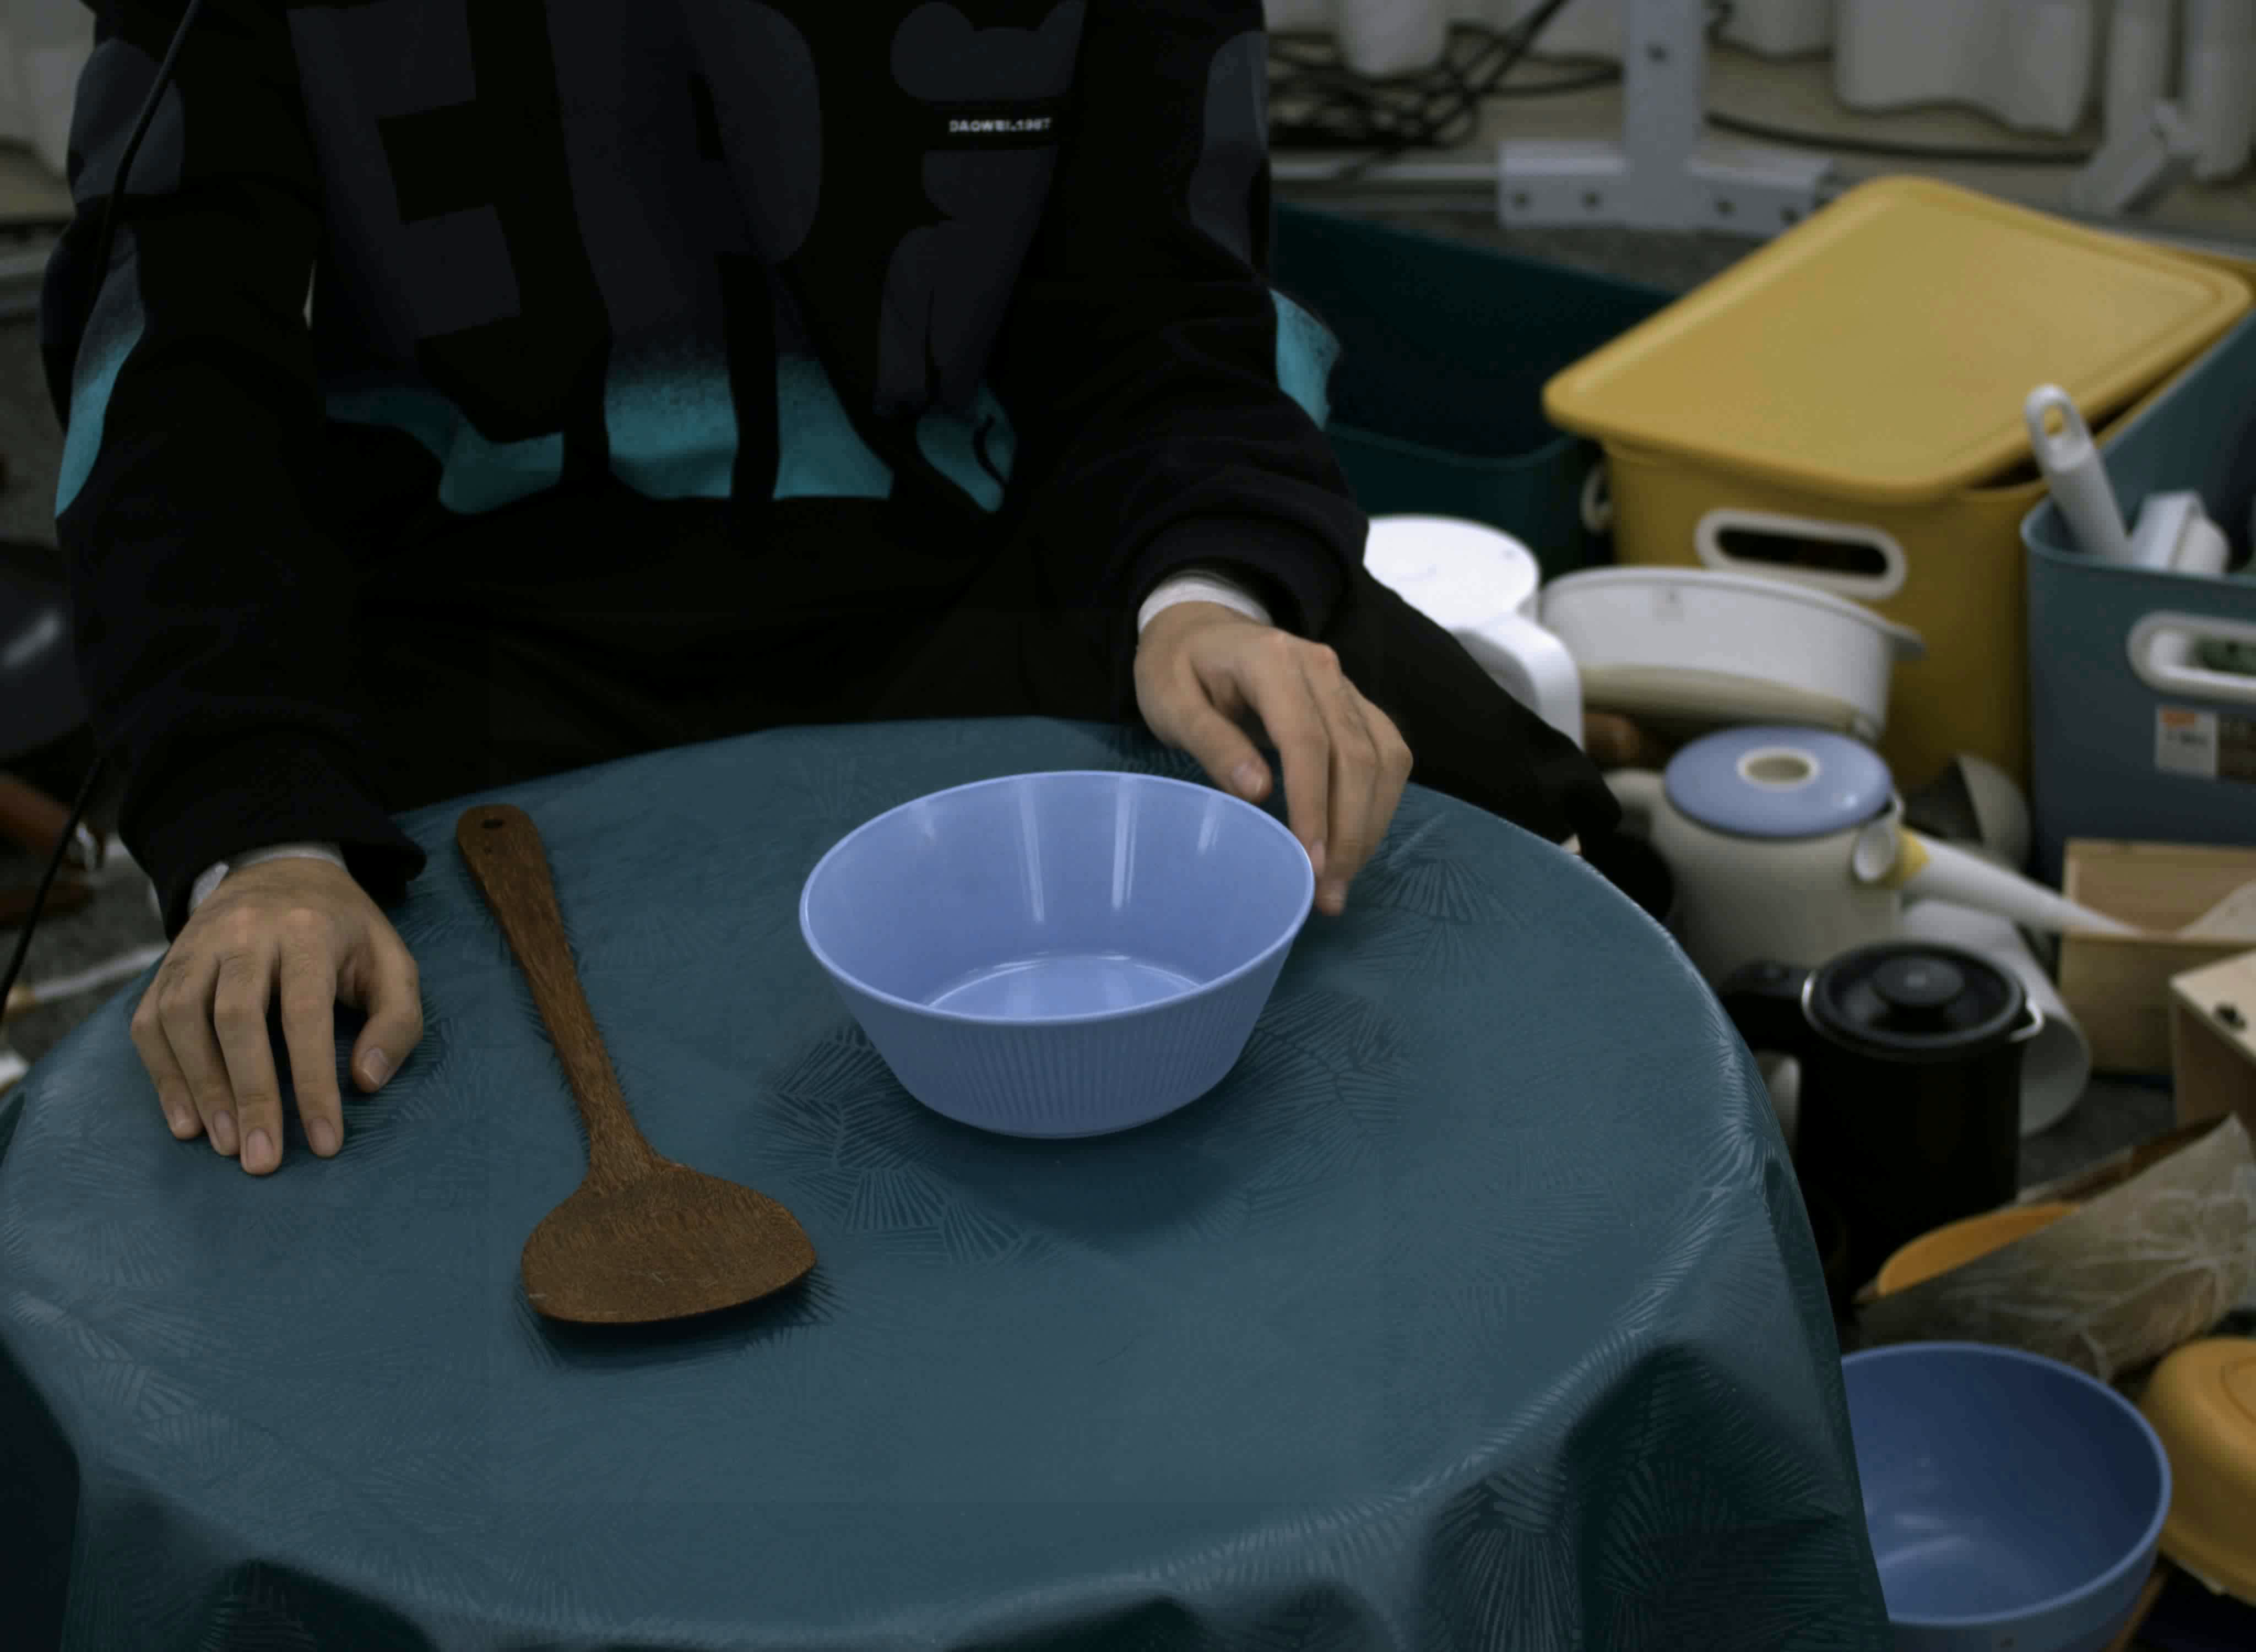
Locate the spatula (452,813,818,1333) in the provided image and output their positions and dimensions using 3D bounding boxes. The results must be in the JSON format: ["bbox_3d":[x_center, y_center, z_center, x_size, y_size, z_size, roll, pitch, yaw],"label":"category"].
[{"bbox_3d":[-0.191,0.077,1.952,0.096,0.015,0.390,-9,28,-13],"label":"spatula"}]

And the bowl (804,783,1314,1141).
[{"bbox_3d":[-0.022,0.052,1.924,0.175,0.069,0.178,-3,26,2],"label":"bowl"}]
